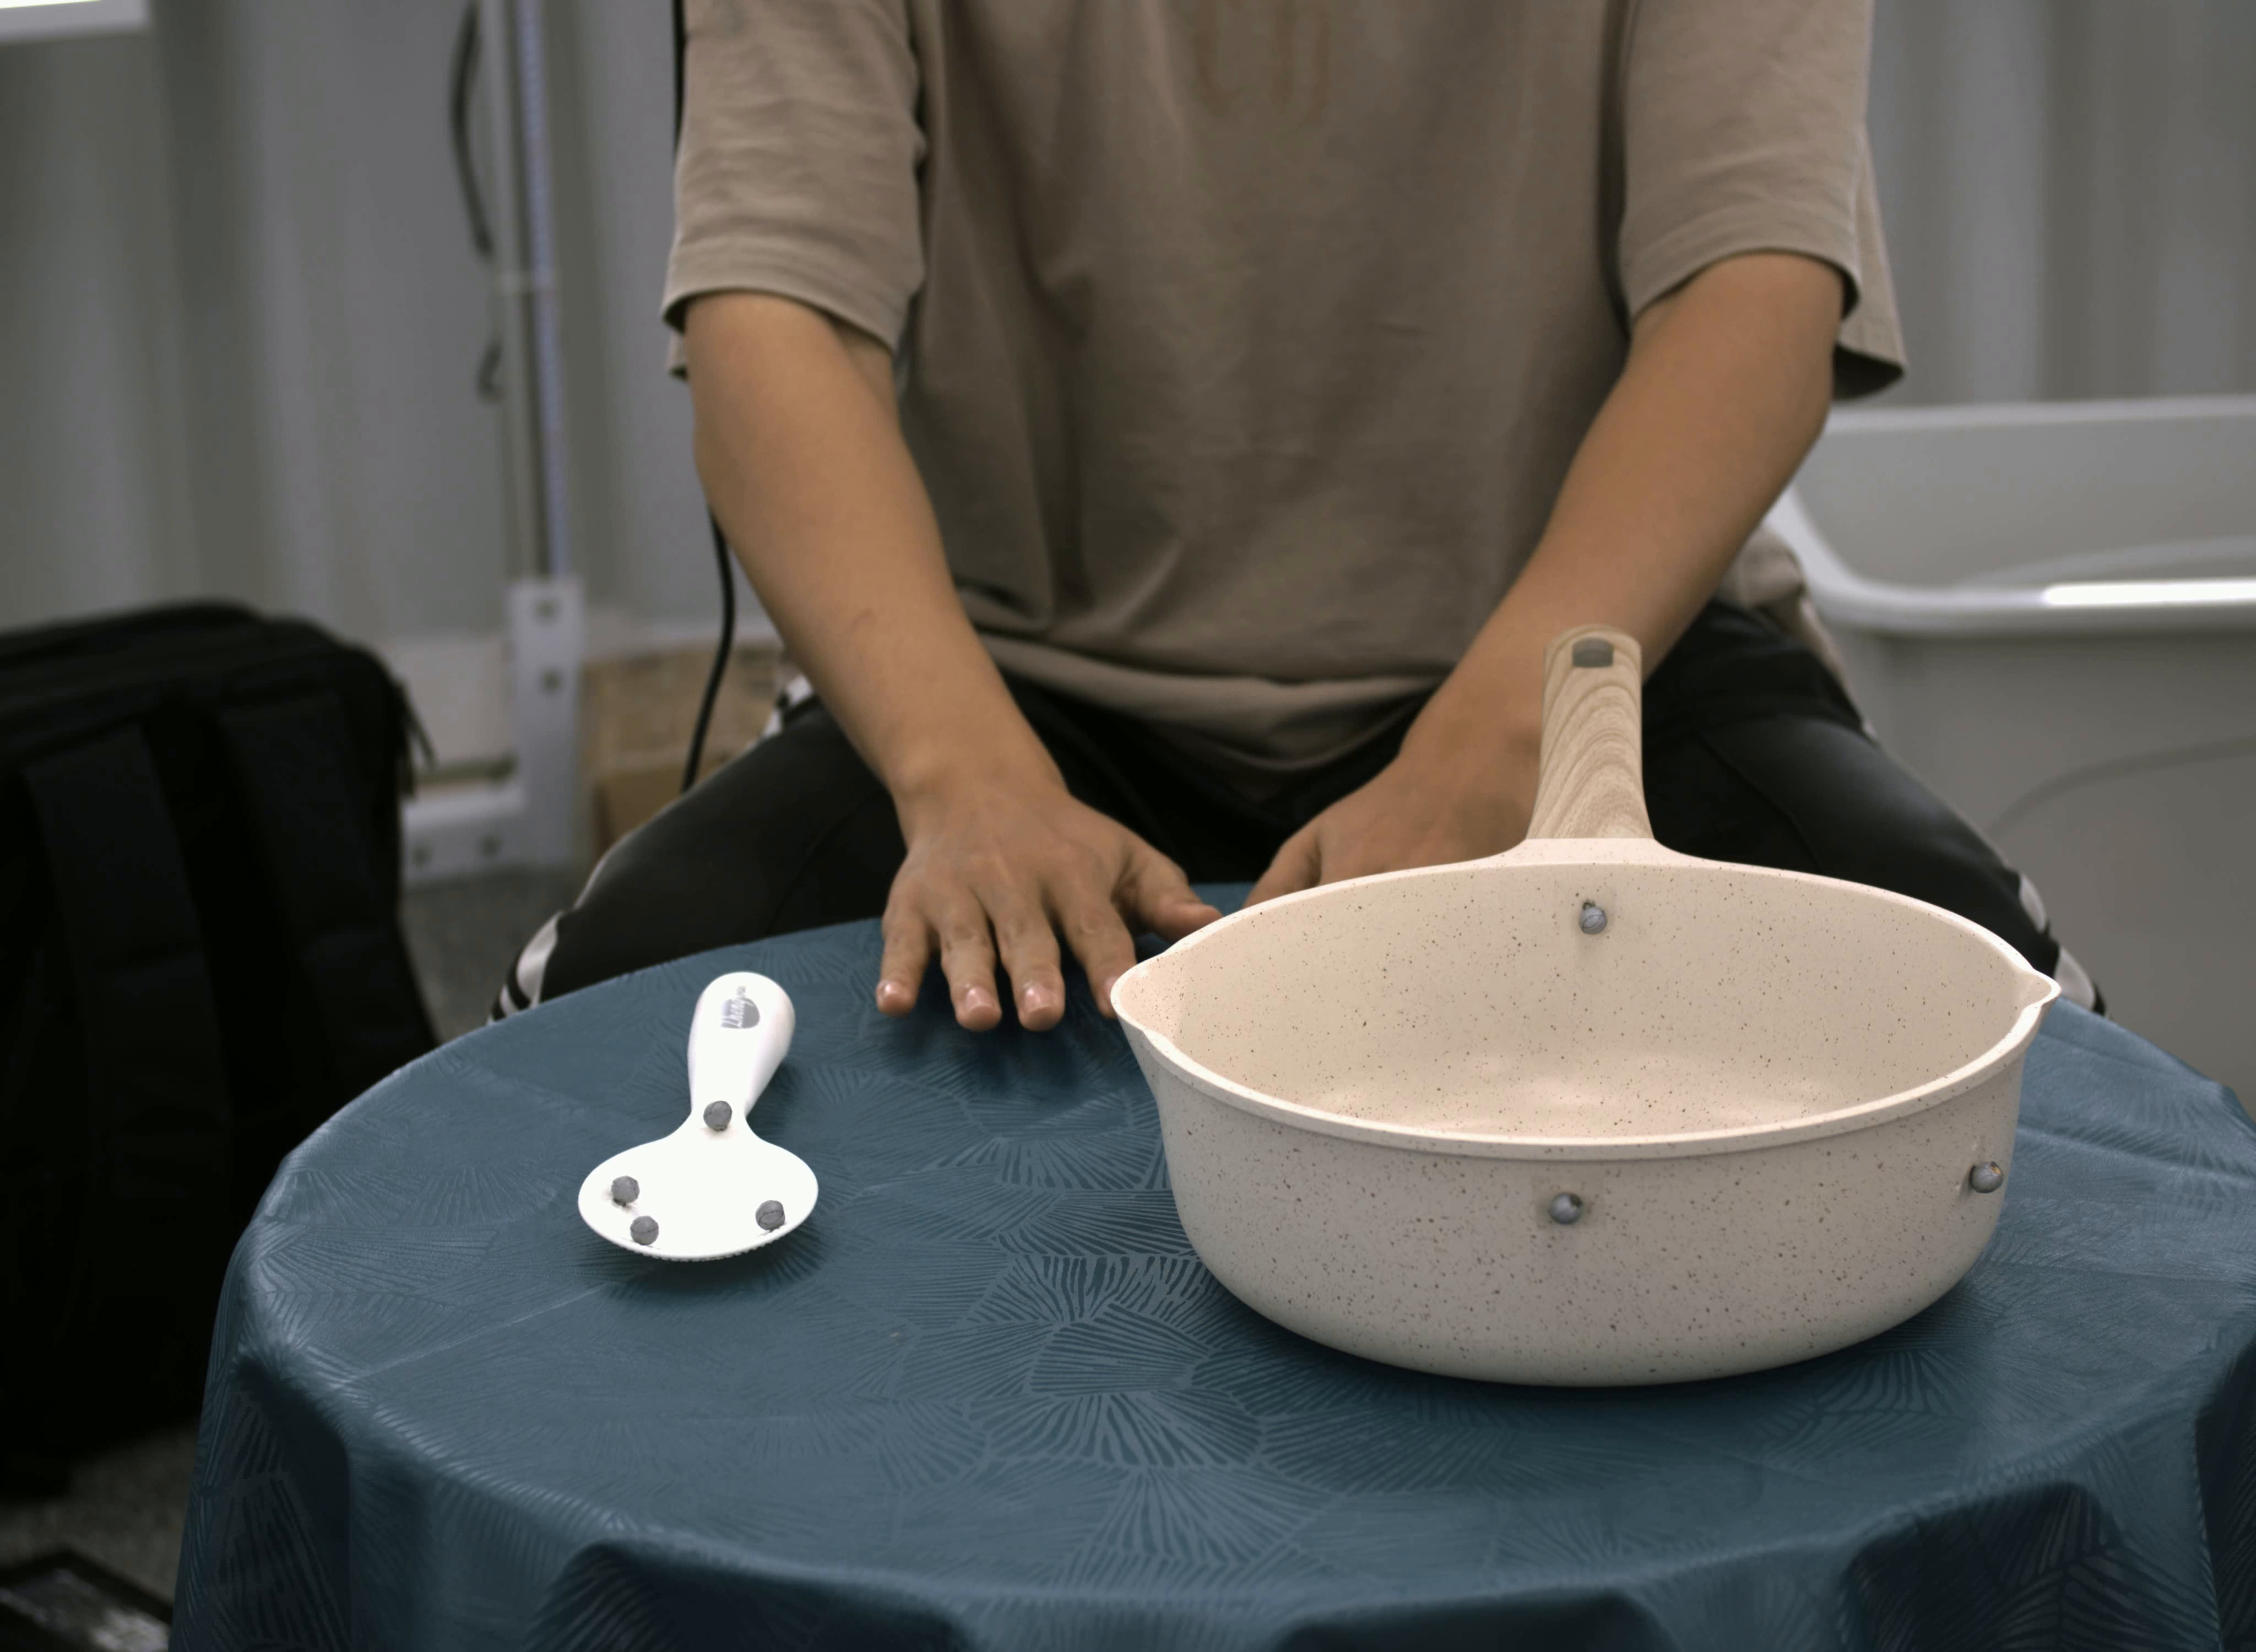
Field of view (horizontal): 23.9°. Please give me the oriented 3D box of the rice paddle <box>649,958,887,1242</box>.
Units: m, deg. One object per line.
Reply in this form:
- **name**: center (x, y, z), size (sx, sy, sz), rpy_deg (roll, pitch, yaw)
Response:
- **rice paddle**: center (-0.103, 0.084, 1.585), size (0.068, 0.029, 0.206), rpy_deg (-1, 16, 0)

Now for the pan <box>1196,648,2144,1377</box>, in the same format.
- **pan**: center (0.159, 0.050, 1.557), size (0.263, 0.102, 0.435), rpy_deg (-3, 16, 6)
